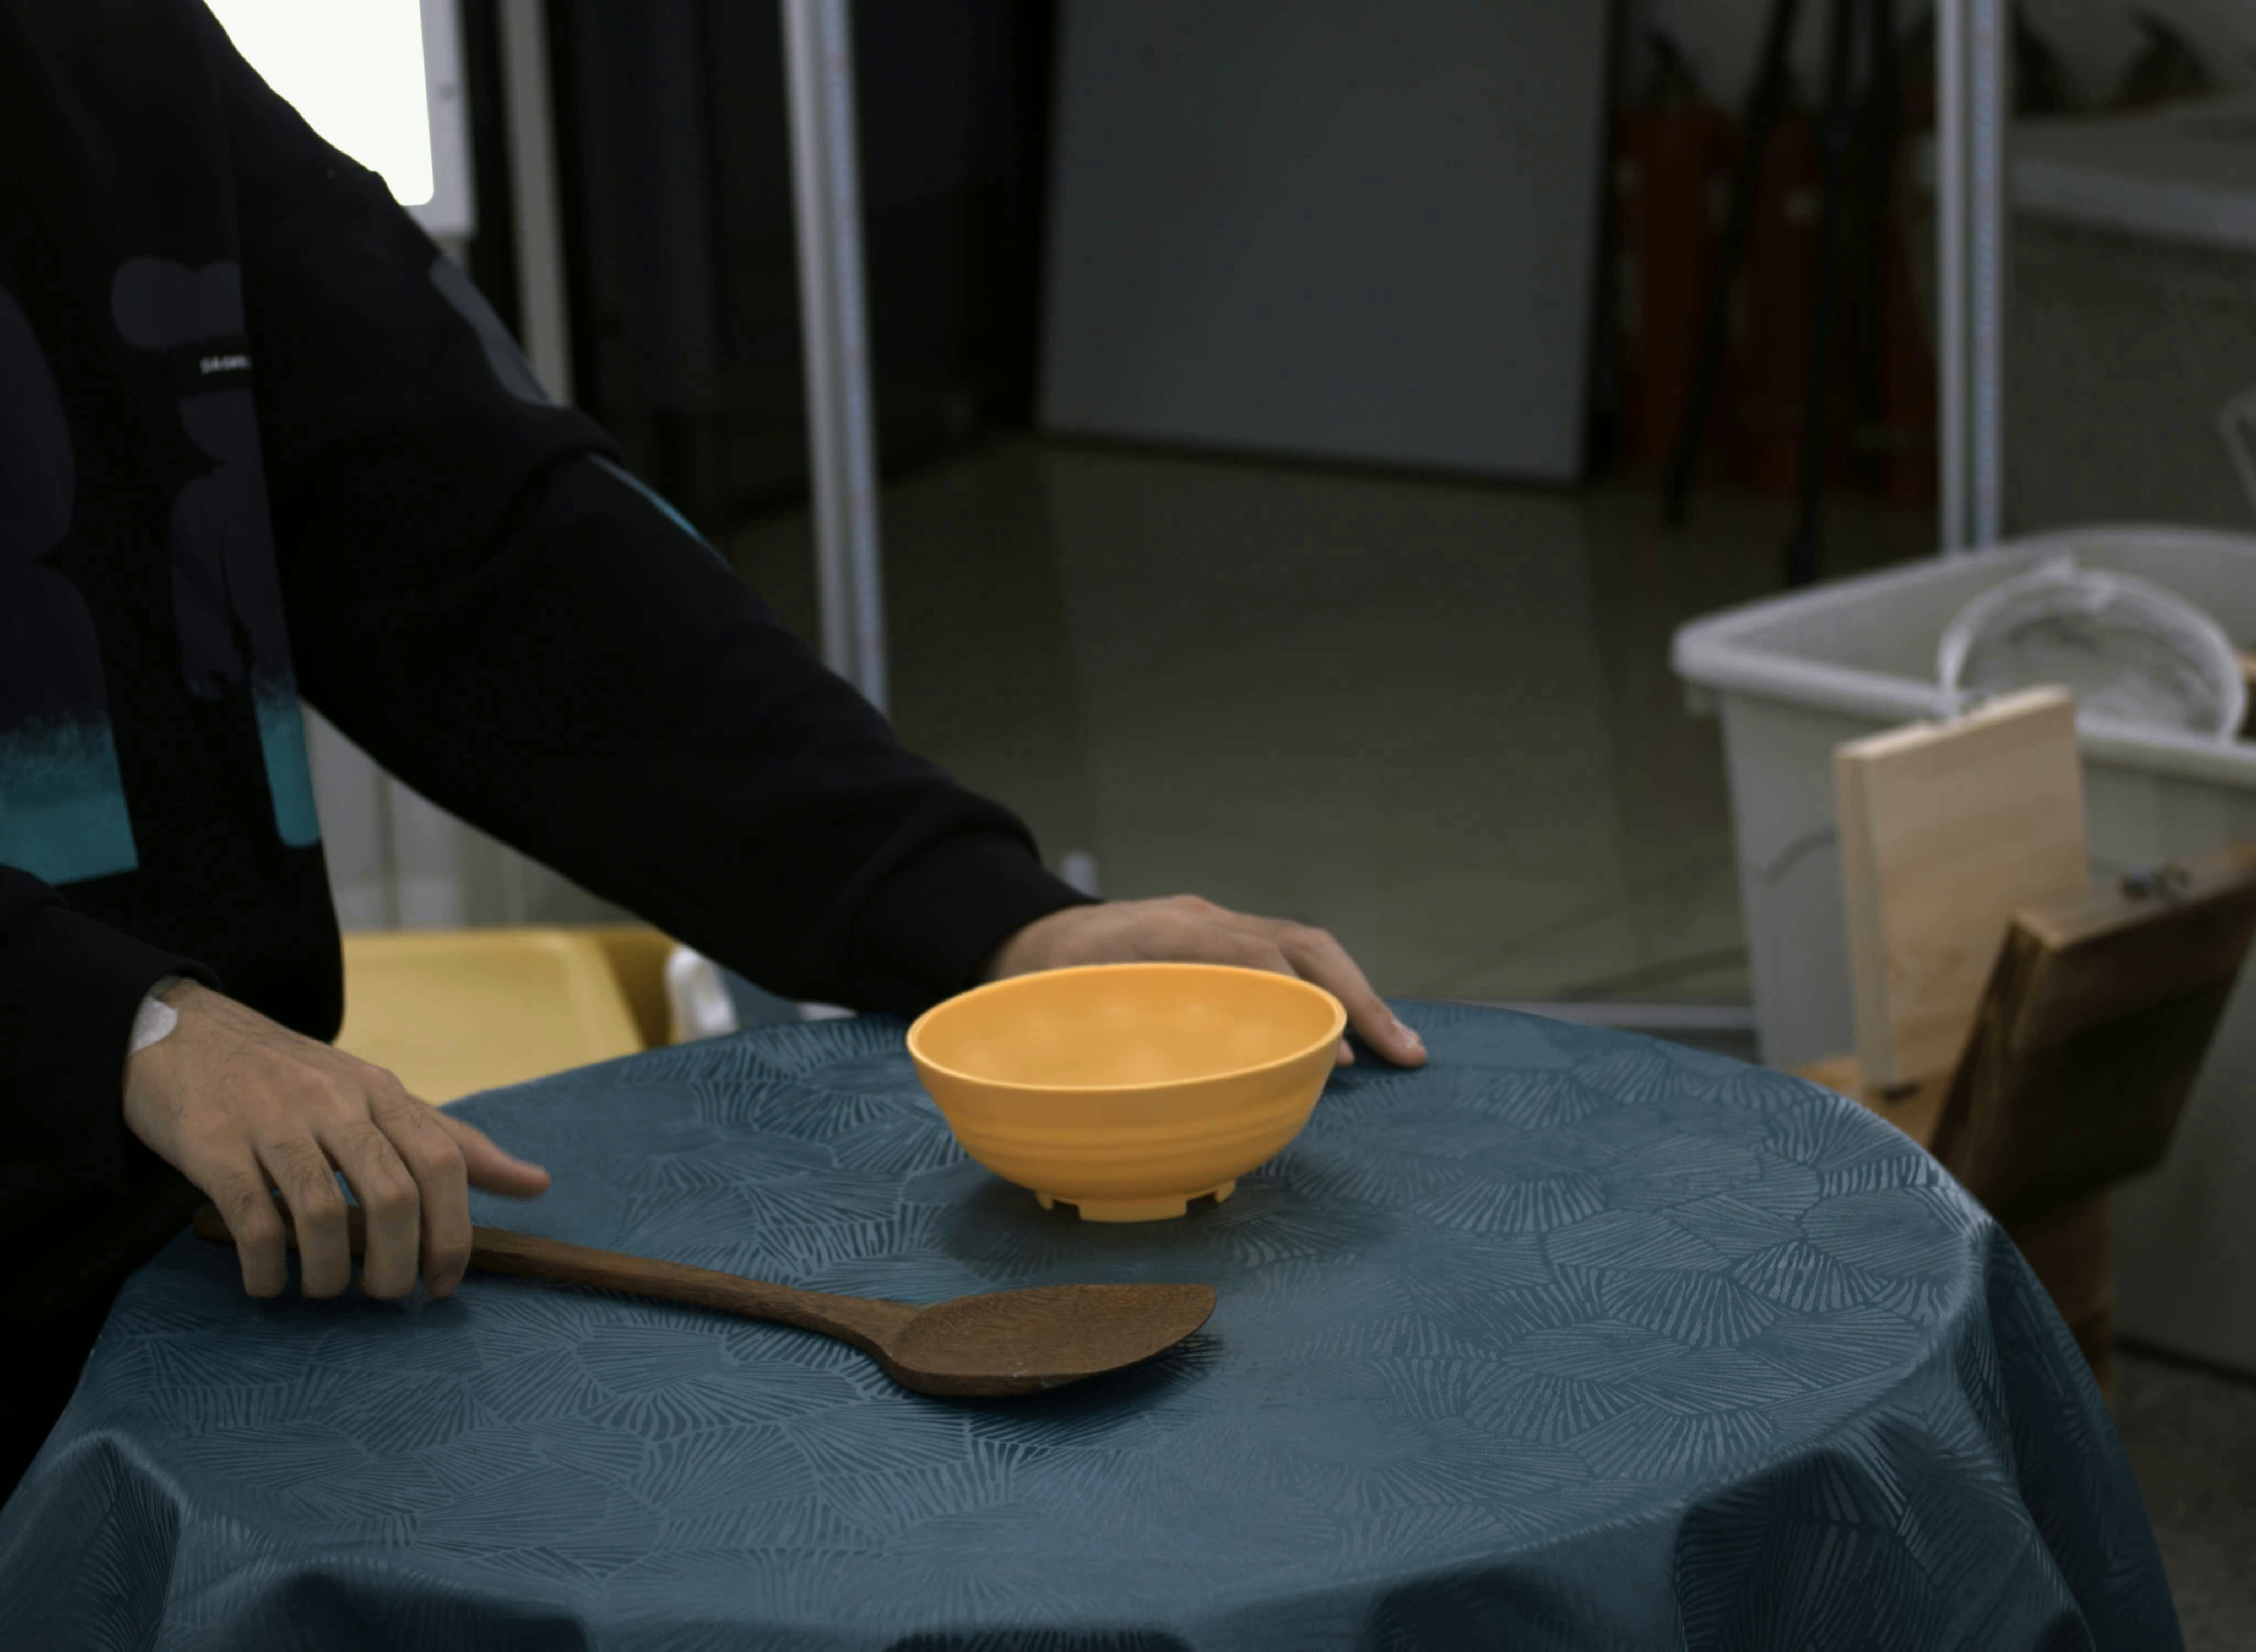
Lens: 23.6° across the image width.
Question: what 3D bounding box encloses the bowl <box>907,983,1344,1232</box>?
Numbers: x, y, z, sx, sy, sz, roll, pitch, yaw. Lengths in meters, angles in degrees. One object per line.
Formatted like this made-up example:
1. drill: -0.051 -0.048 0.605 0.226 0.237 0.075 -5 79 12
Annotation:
1. bowl: 0.000 0.095 1.762 0.143 0.061 0.145 -3 11 0

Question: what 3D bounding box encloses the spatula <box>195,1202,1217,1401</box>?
1. spatula: -0.147 0.144 1.694 0.388 0.016 0.094 5 16 33
